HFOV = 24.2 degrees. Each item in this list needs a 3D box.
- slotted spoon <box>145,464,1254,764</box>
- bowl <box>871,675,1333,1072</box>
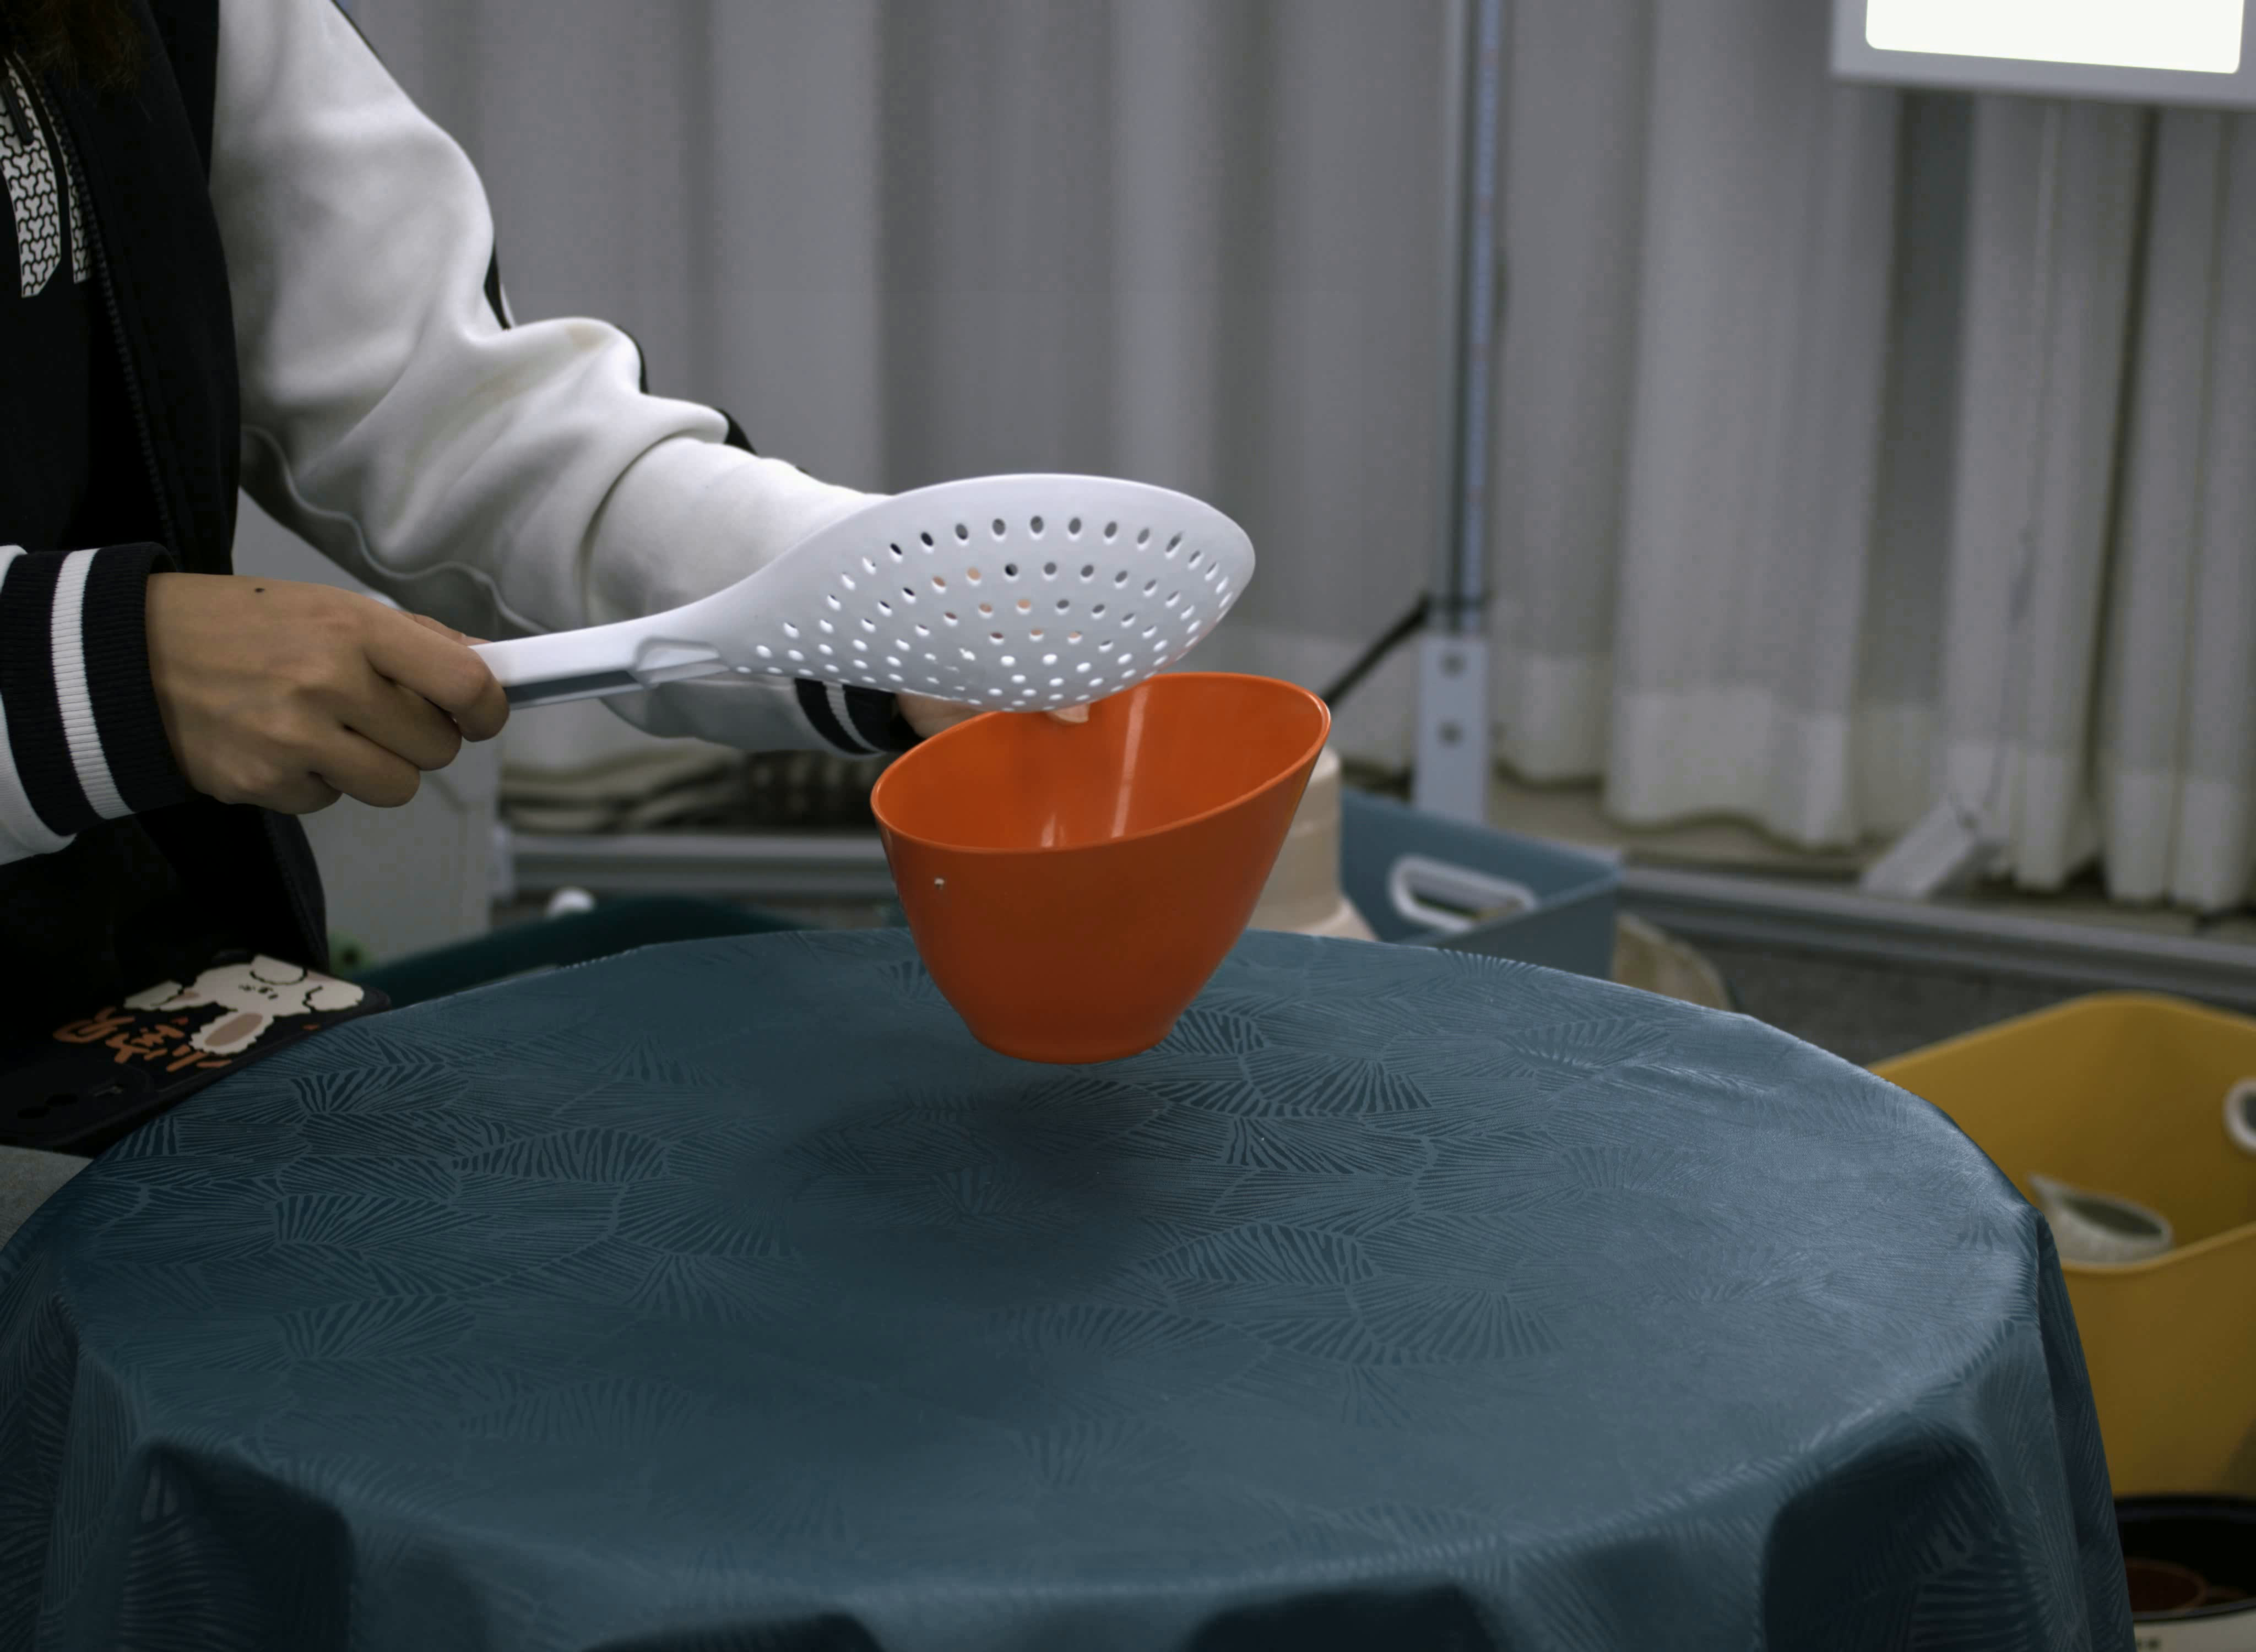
[{"bbox_3d":[-0.133,-0.055,1.576,0.347,0.045,0.137,-4,-21,16],"label":"slotted spoon"},{"bbox_3d":[-0.008,0.018,1.679,0.147,0.106,0.147,-1,23,1],"label":"bowl"}]
